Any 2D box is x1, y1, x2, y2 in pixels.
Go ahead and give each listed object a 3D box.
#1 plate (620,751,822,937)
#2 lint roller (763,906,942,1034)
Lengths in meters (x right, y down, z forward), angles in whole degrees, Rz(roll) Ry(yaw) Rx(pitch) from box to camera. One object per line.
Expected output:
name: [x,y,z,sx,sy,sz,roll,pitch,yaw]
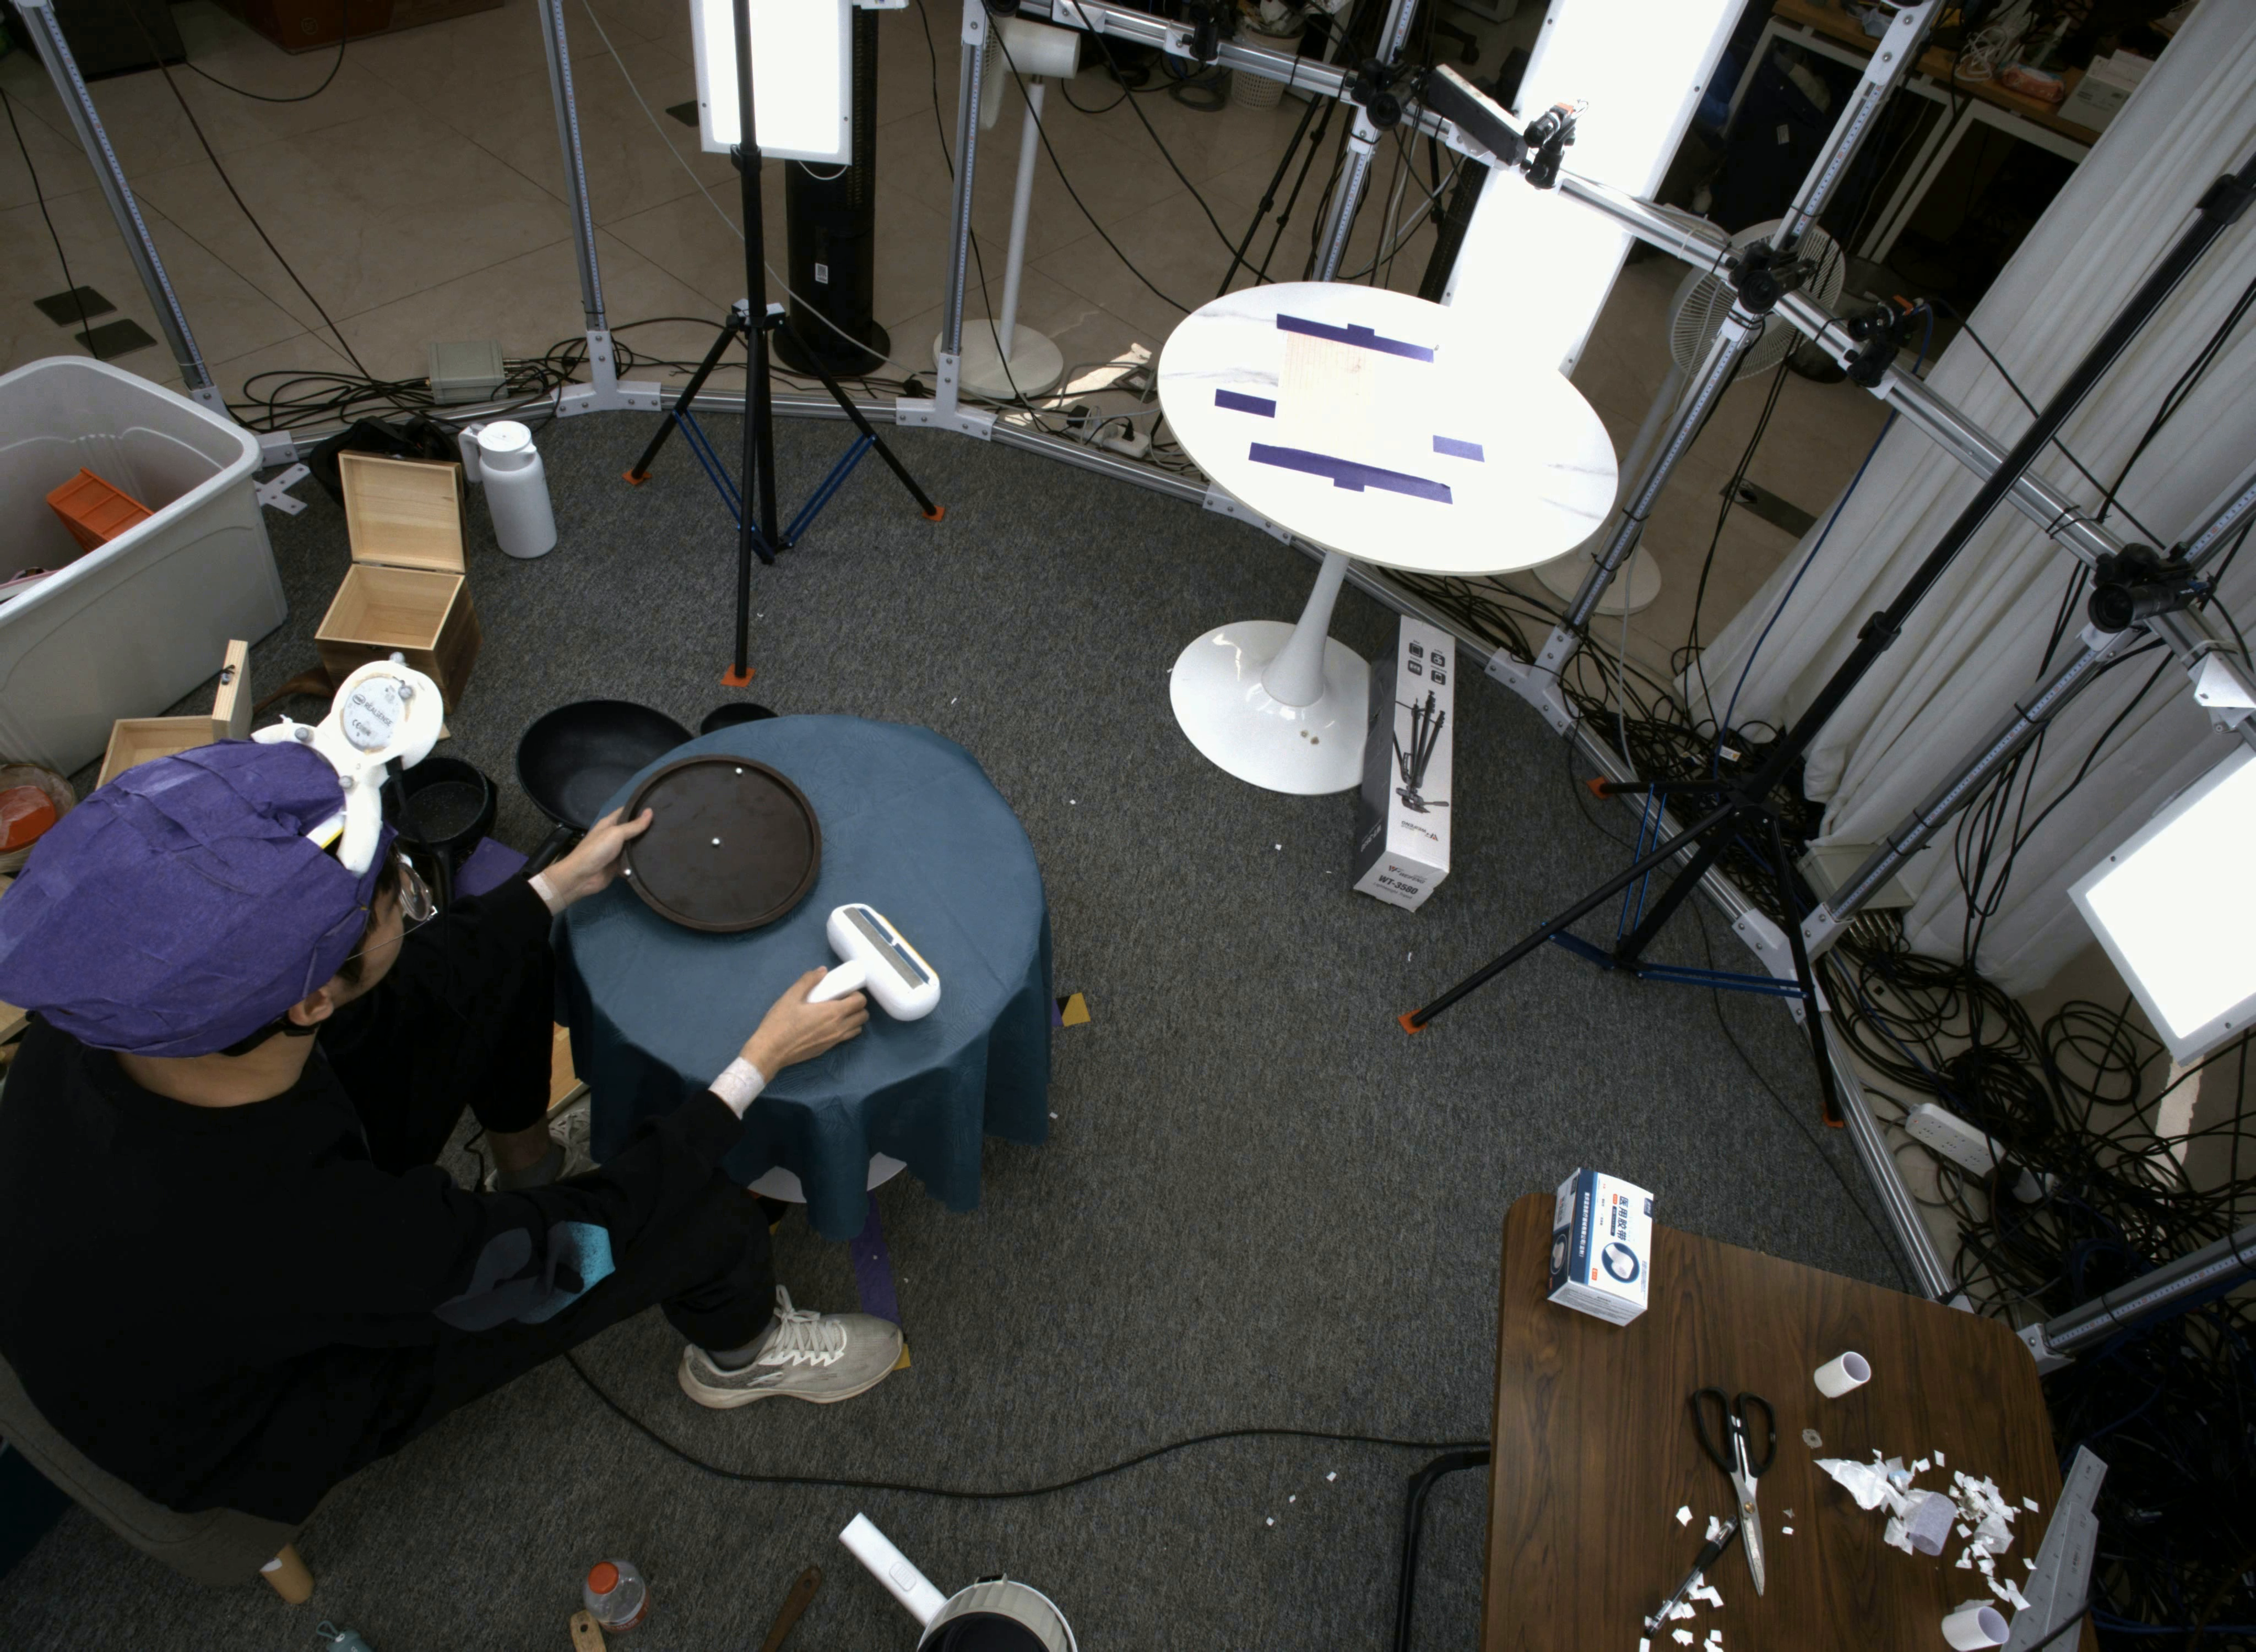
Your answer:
plate: [-0.518,0.022,1.643,0.257,0.029,0.252,11,62,-18]
lint roller: [-0.344,0.187,1.554,0.194,0.076,0.187,-18,51,-34]
